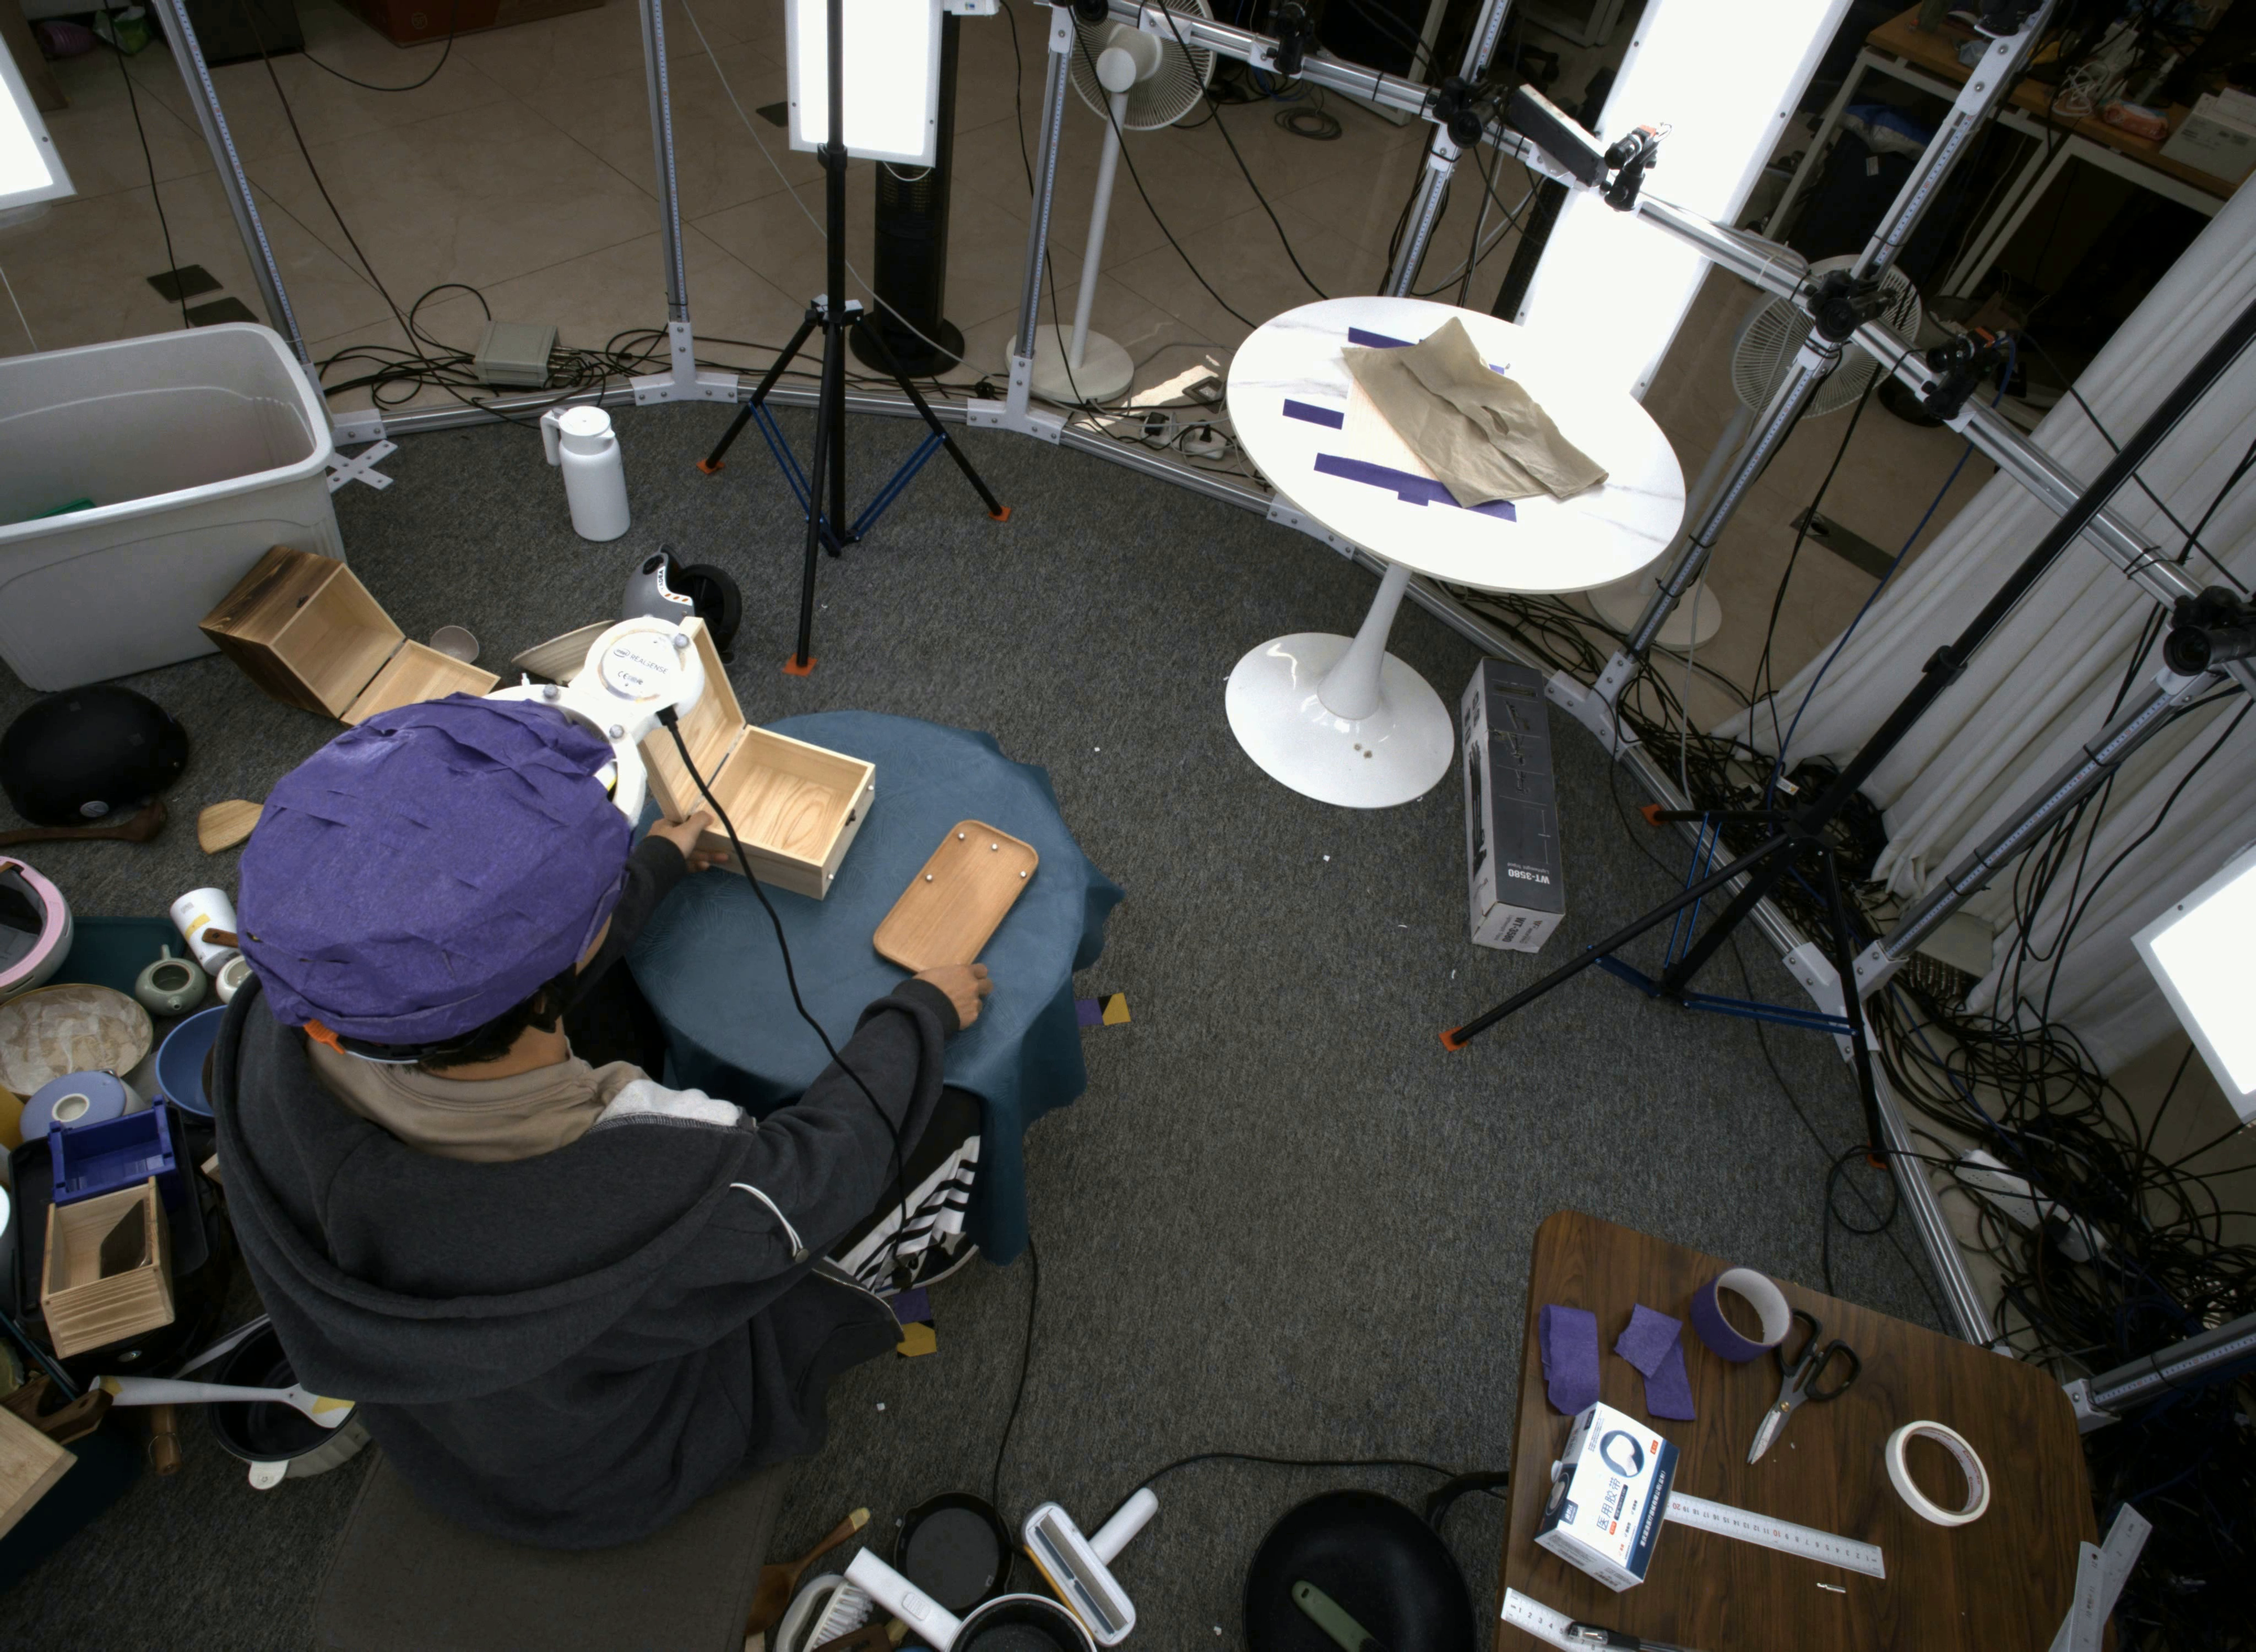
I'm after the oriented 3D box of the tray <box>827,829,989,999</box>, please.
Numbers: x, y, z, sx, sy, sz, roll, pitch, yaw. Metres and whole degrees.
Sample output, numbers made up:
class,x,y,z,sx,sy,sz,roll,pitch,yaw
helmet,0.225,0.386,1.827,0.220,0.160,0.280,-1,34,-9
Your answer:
class,x,y,z,sx,sy,sz,roll,pitch,yaw
tray,-0.279,0.108,1.672,0.128,0.023,0.249,22,52,7

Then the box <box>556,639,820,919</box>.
class,x,y,z,sx,sy,sz,roll,pitch,yaw
box,-0.534,-0.056,1.585,0.263,0.258,0.179,13,54,-1
